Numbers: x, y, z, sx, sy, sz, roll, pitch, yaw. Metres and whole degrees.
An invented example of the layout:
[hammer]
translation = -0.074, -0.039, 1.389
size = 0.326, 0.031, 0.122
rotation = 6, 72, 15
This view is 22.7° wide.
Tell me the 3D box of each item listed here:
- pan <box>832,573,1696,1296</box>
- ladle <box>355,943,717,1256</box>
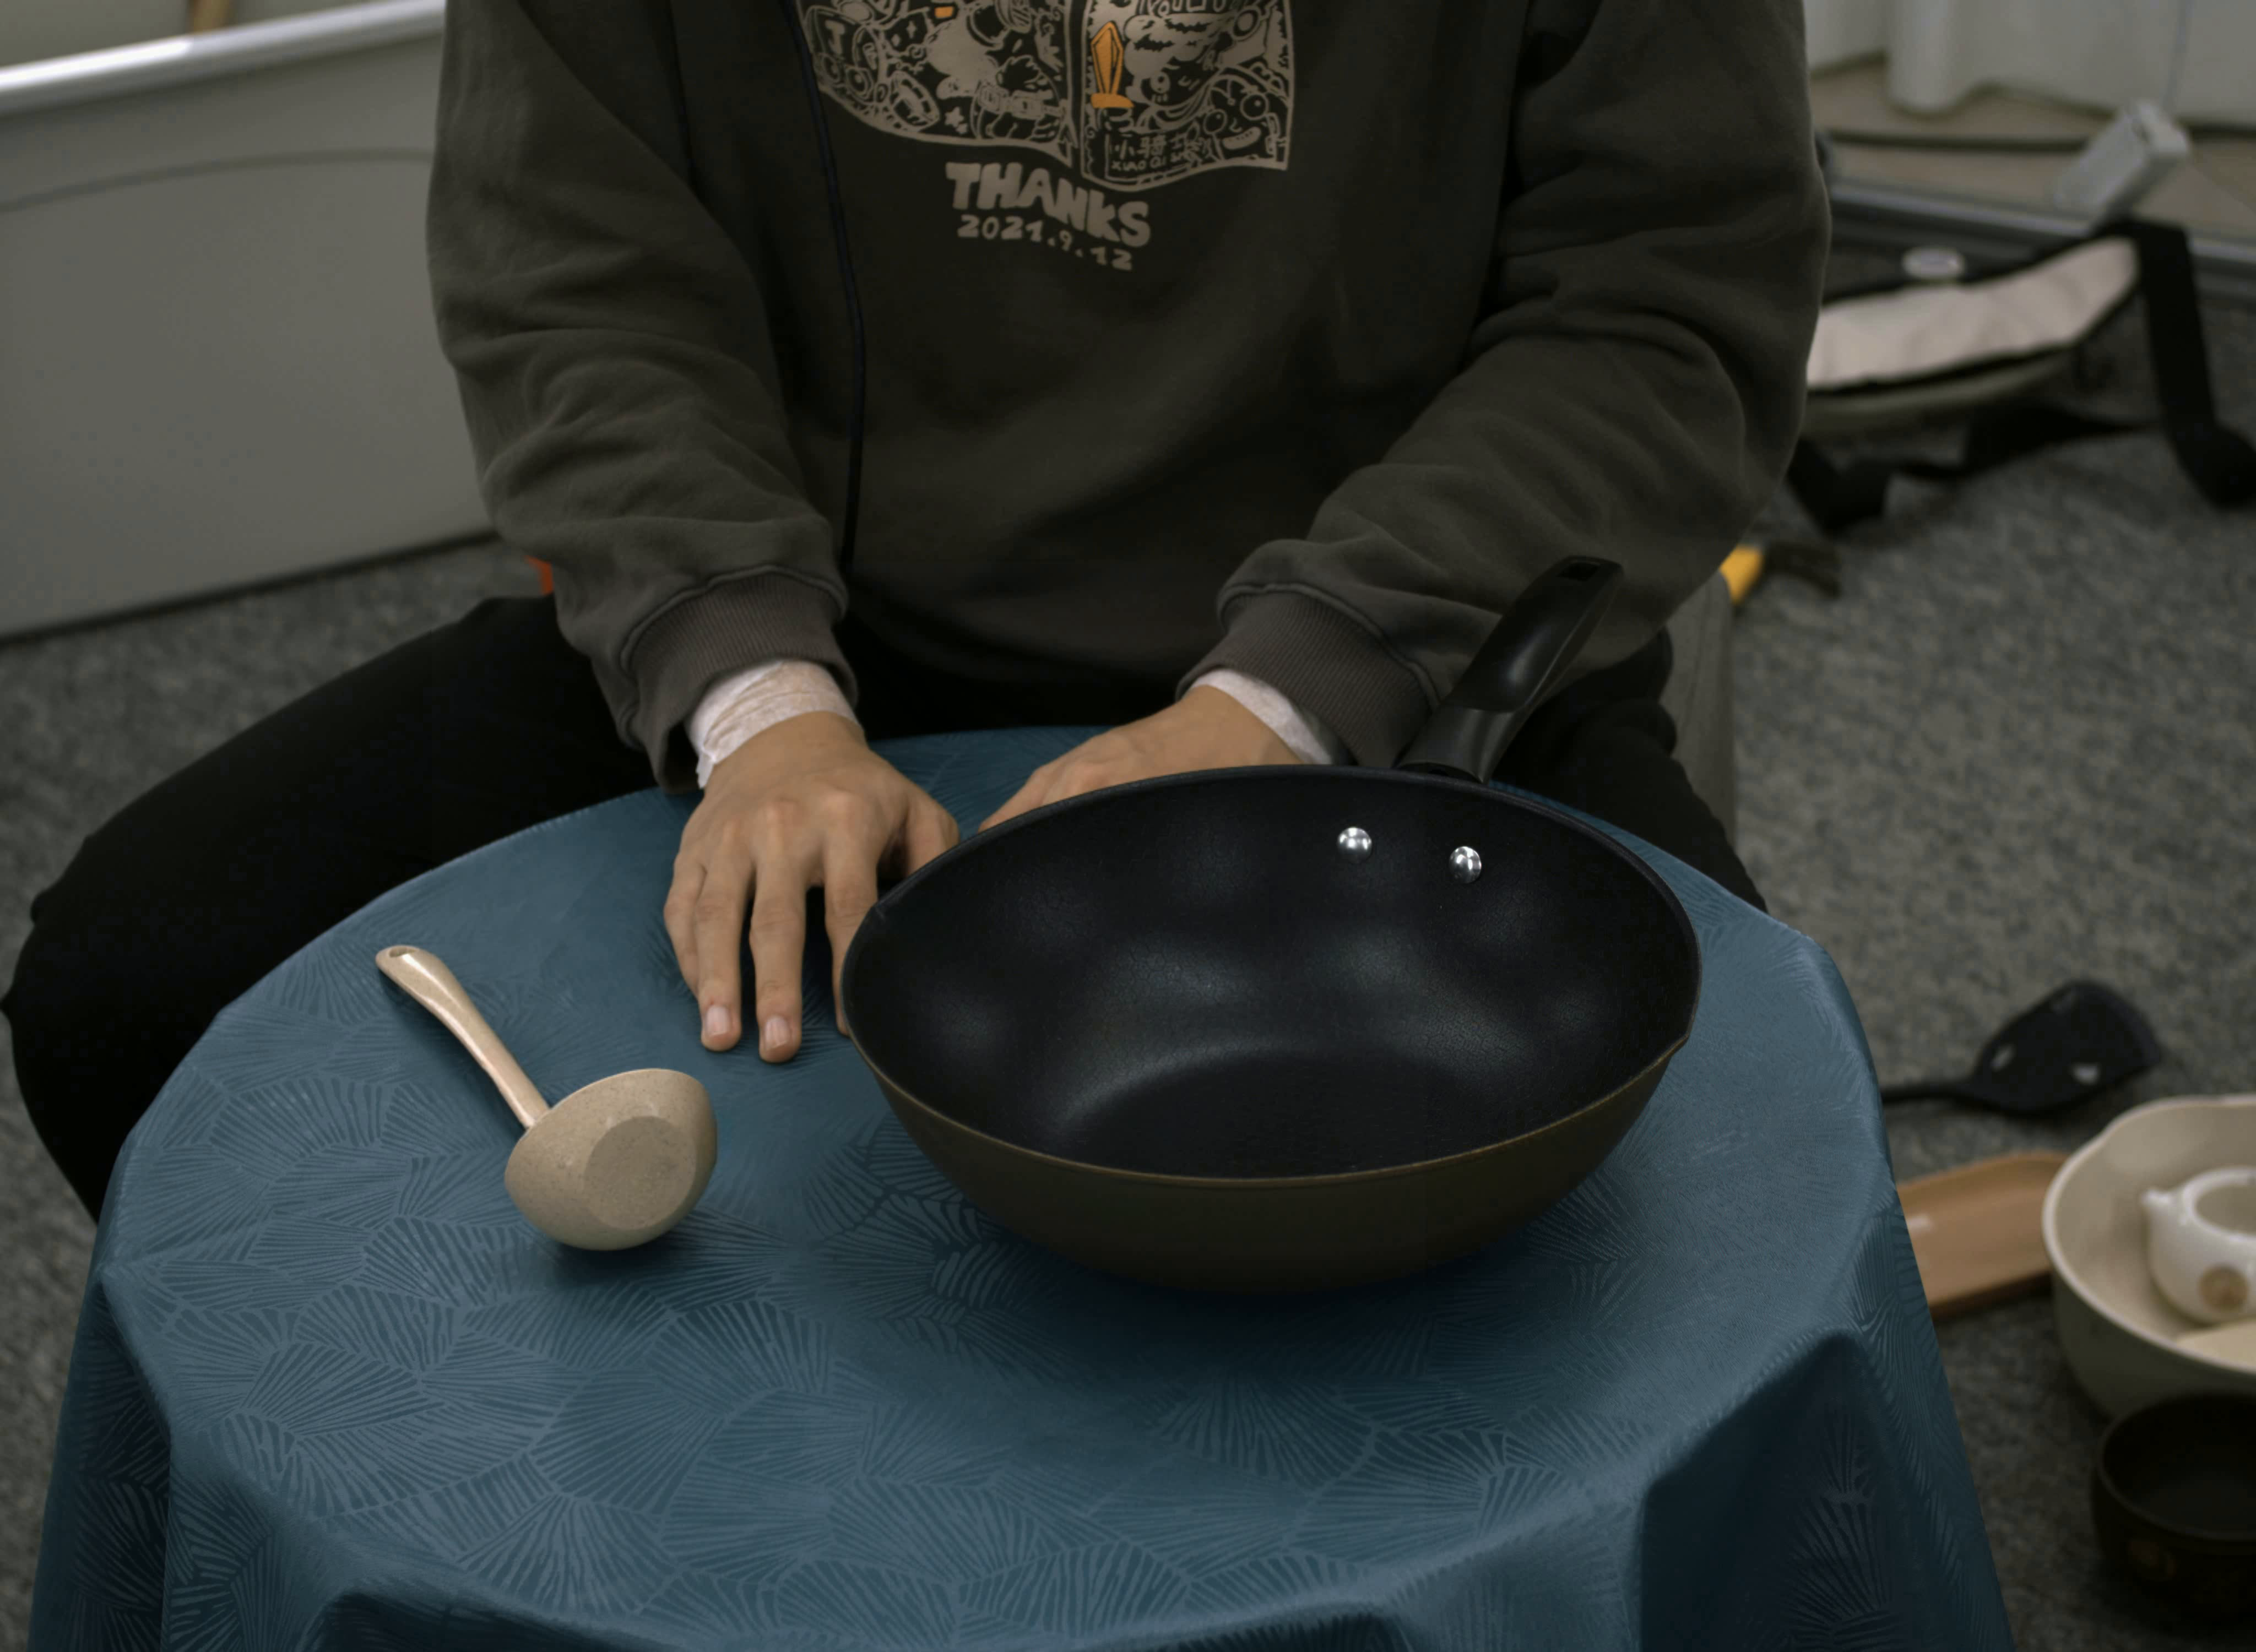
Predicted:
[pan]
translation = 0.082, 0.038, 1.925
size = 0.286, 0.086, 0.471
rotation = 9, 29, 22
[ladle]
translation = -0.216, 0.066, 1.910
size = 0.072, 0.072, 0.256
rotation = -18, 32, -23
